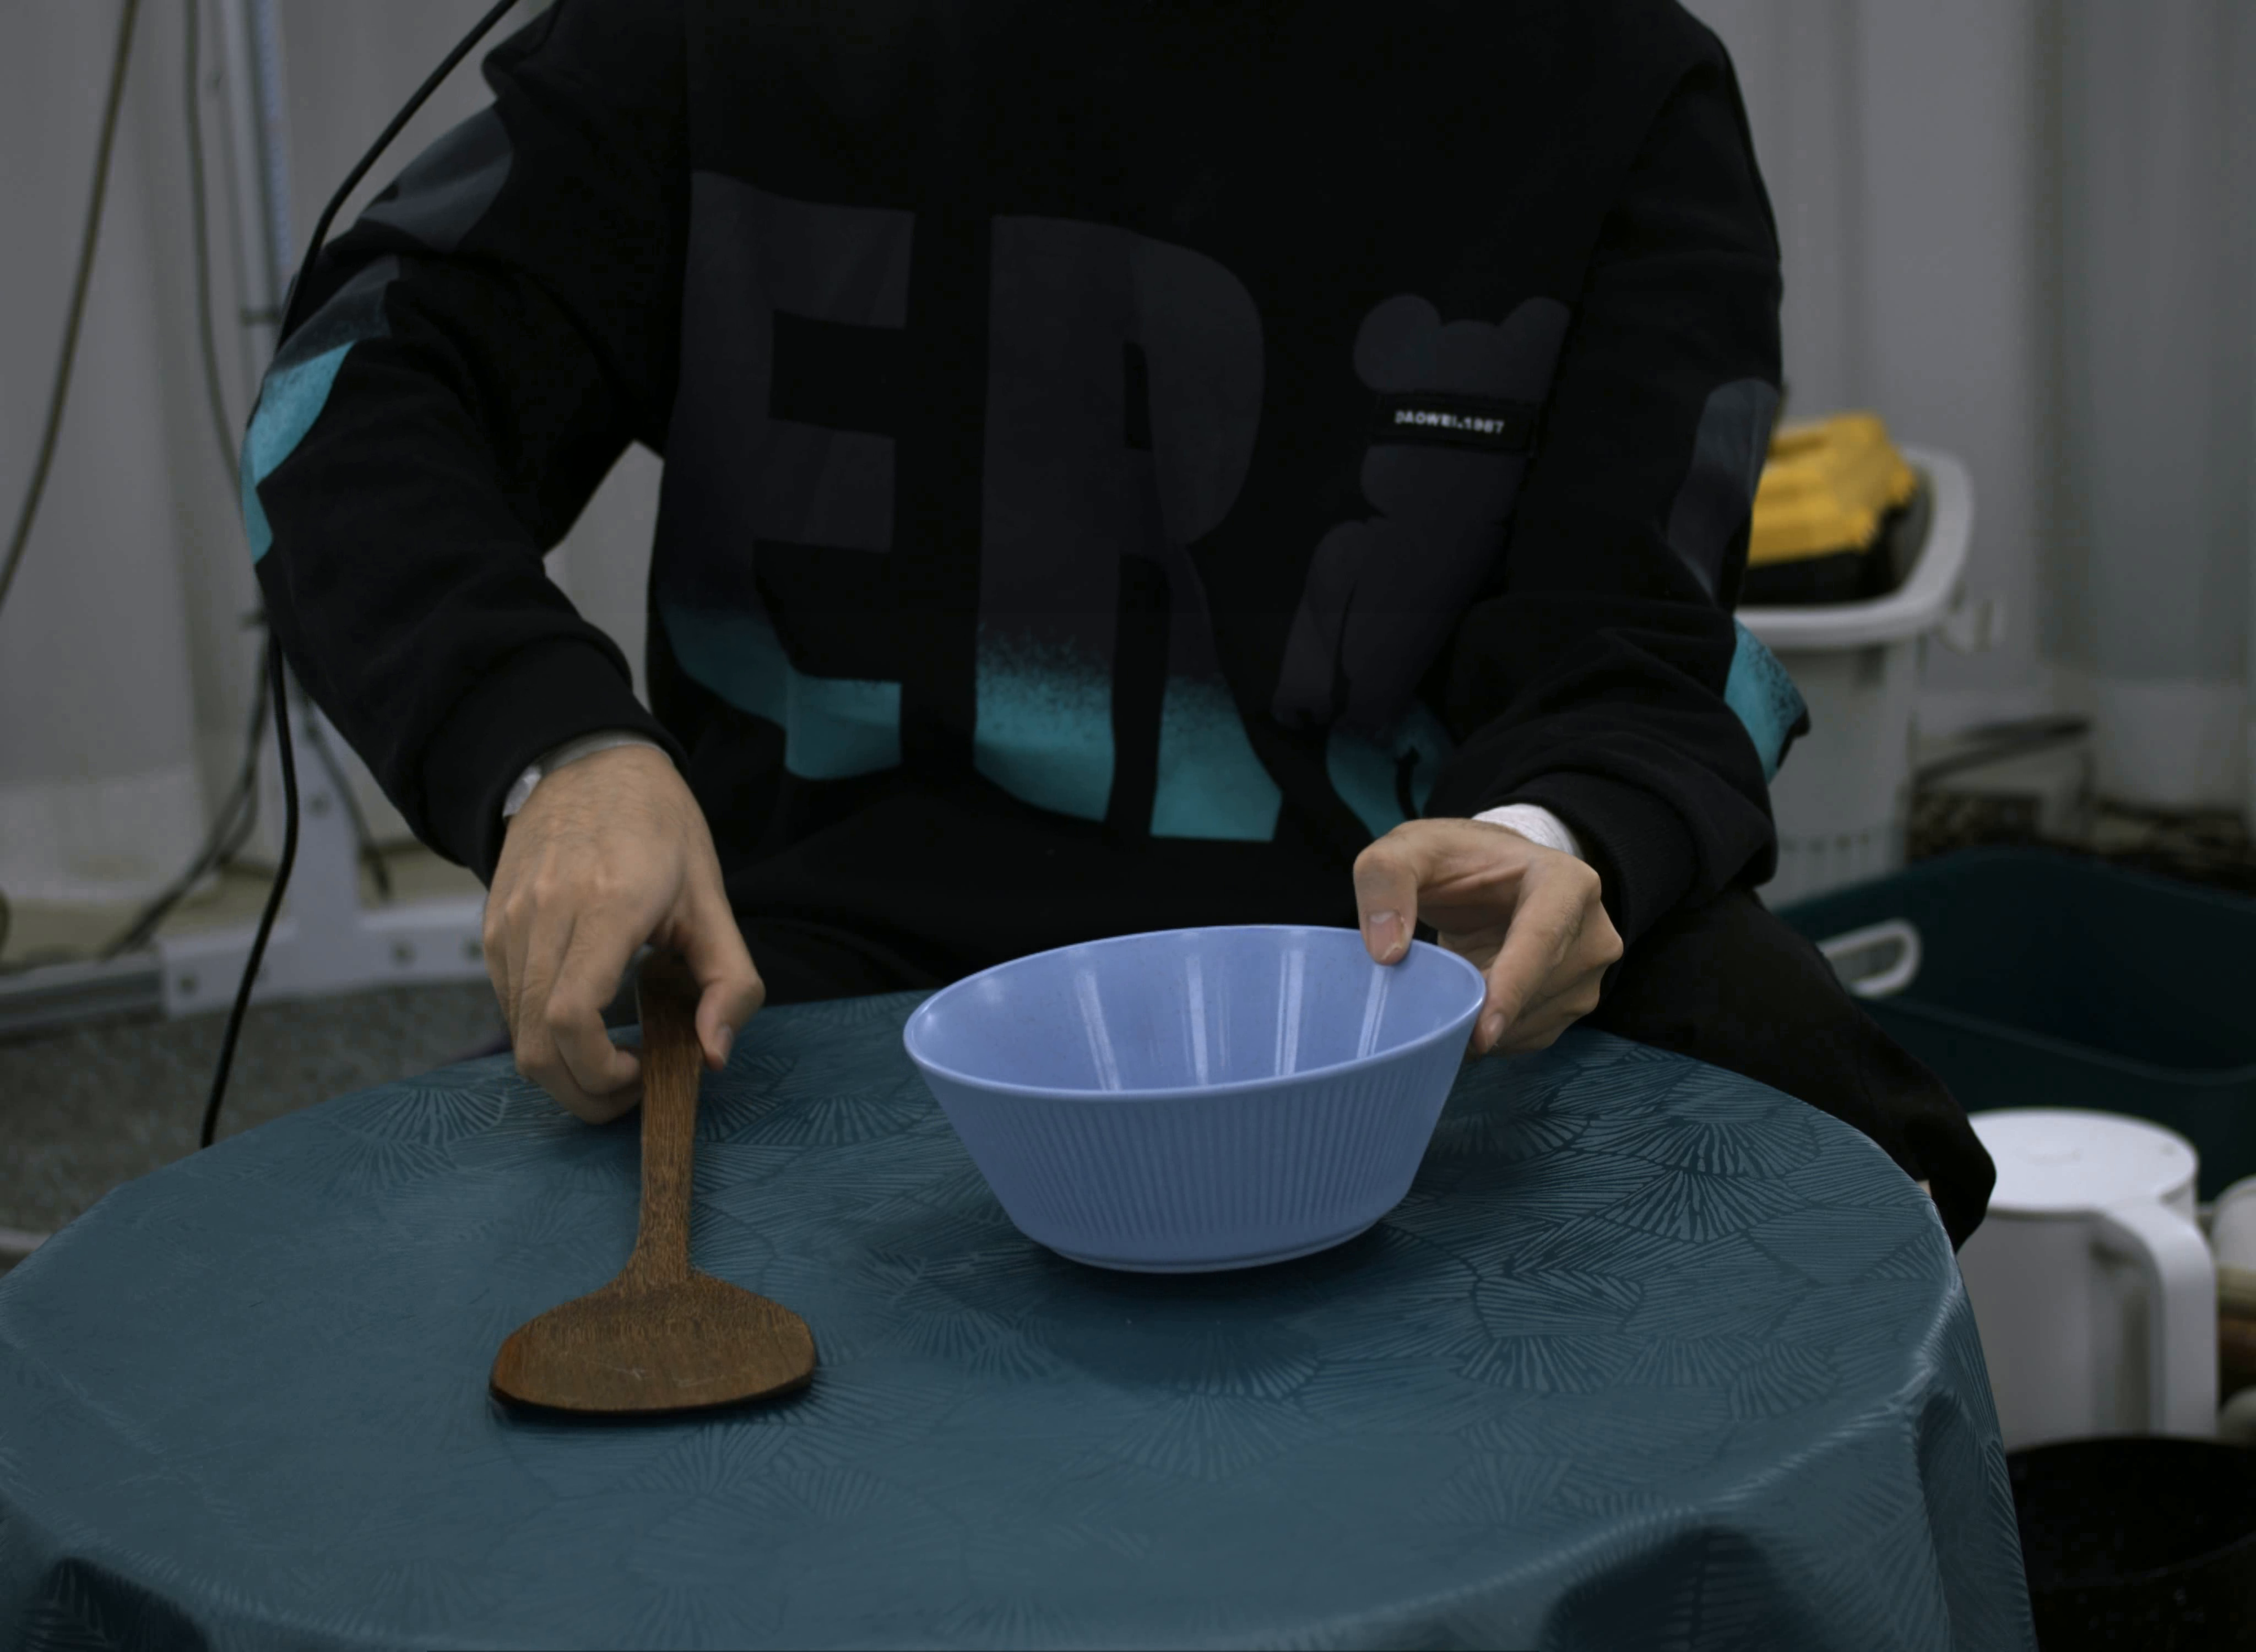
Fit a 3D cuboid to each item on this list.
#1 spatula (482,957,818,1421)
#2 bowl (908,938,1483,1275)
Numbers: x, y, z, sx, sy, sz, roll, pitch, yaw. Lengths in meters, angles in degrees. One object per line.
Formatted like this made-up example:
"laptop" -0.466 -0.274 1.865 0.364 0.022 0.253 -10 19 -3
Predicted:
"spatula" -0.145 0.107 1.718 0.096 0.015 0.389 -3 18 -2
"bowl" 0.023 0.087 1.652 0.175 0.070 0.177 -5 13 1
